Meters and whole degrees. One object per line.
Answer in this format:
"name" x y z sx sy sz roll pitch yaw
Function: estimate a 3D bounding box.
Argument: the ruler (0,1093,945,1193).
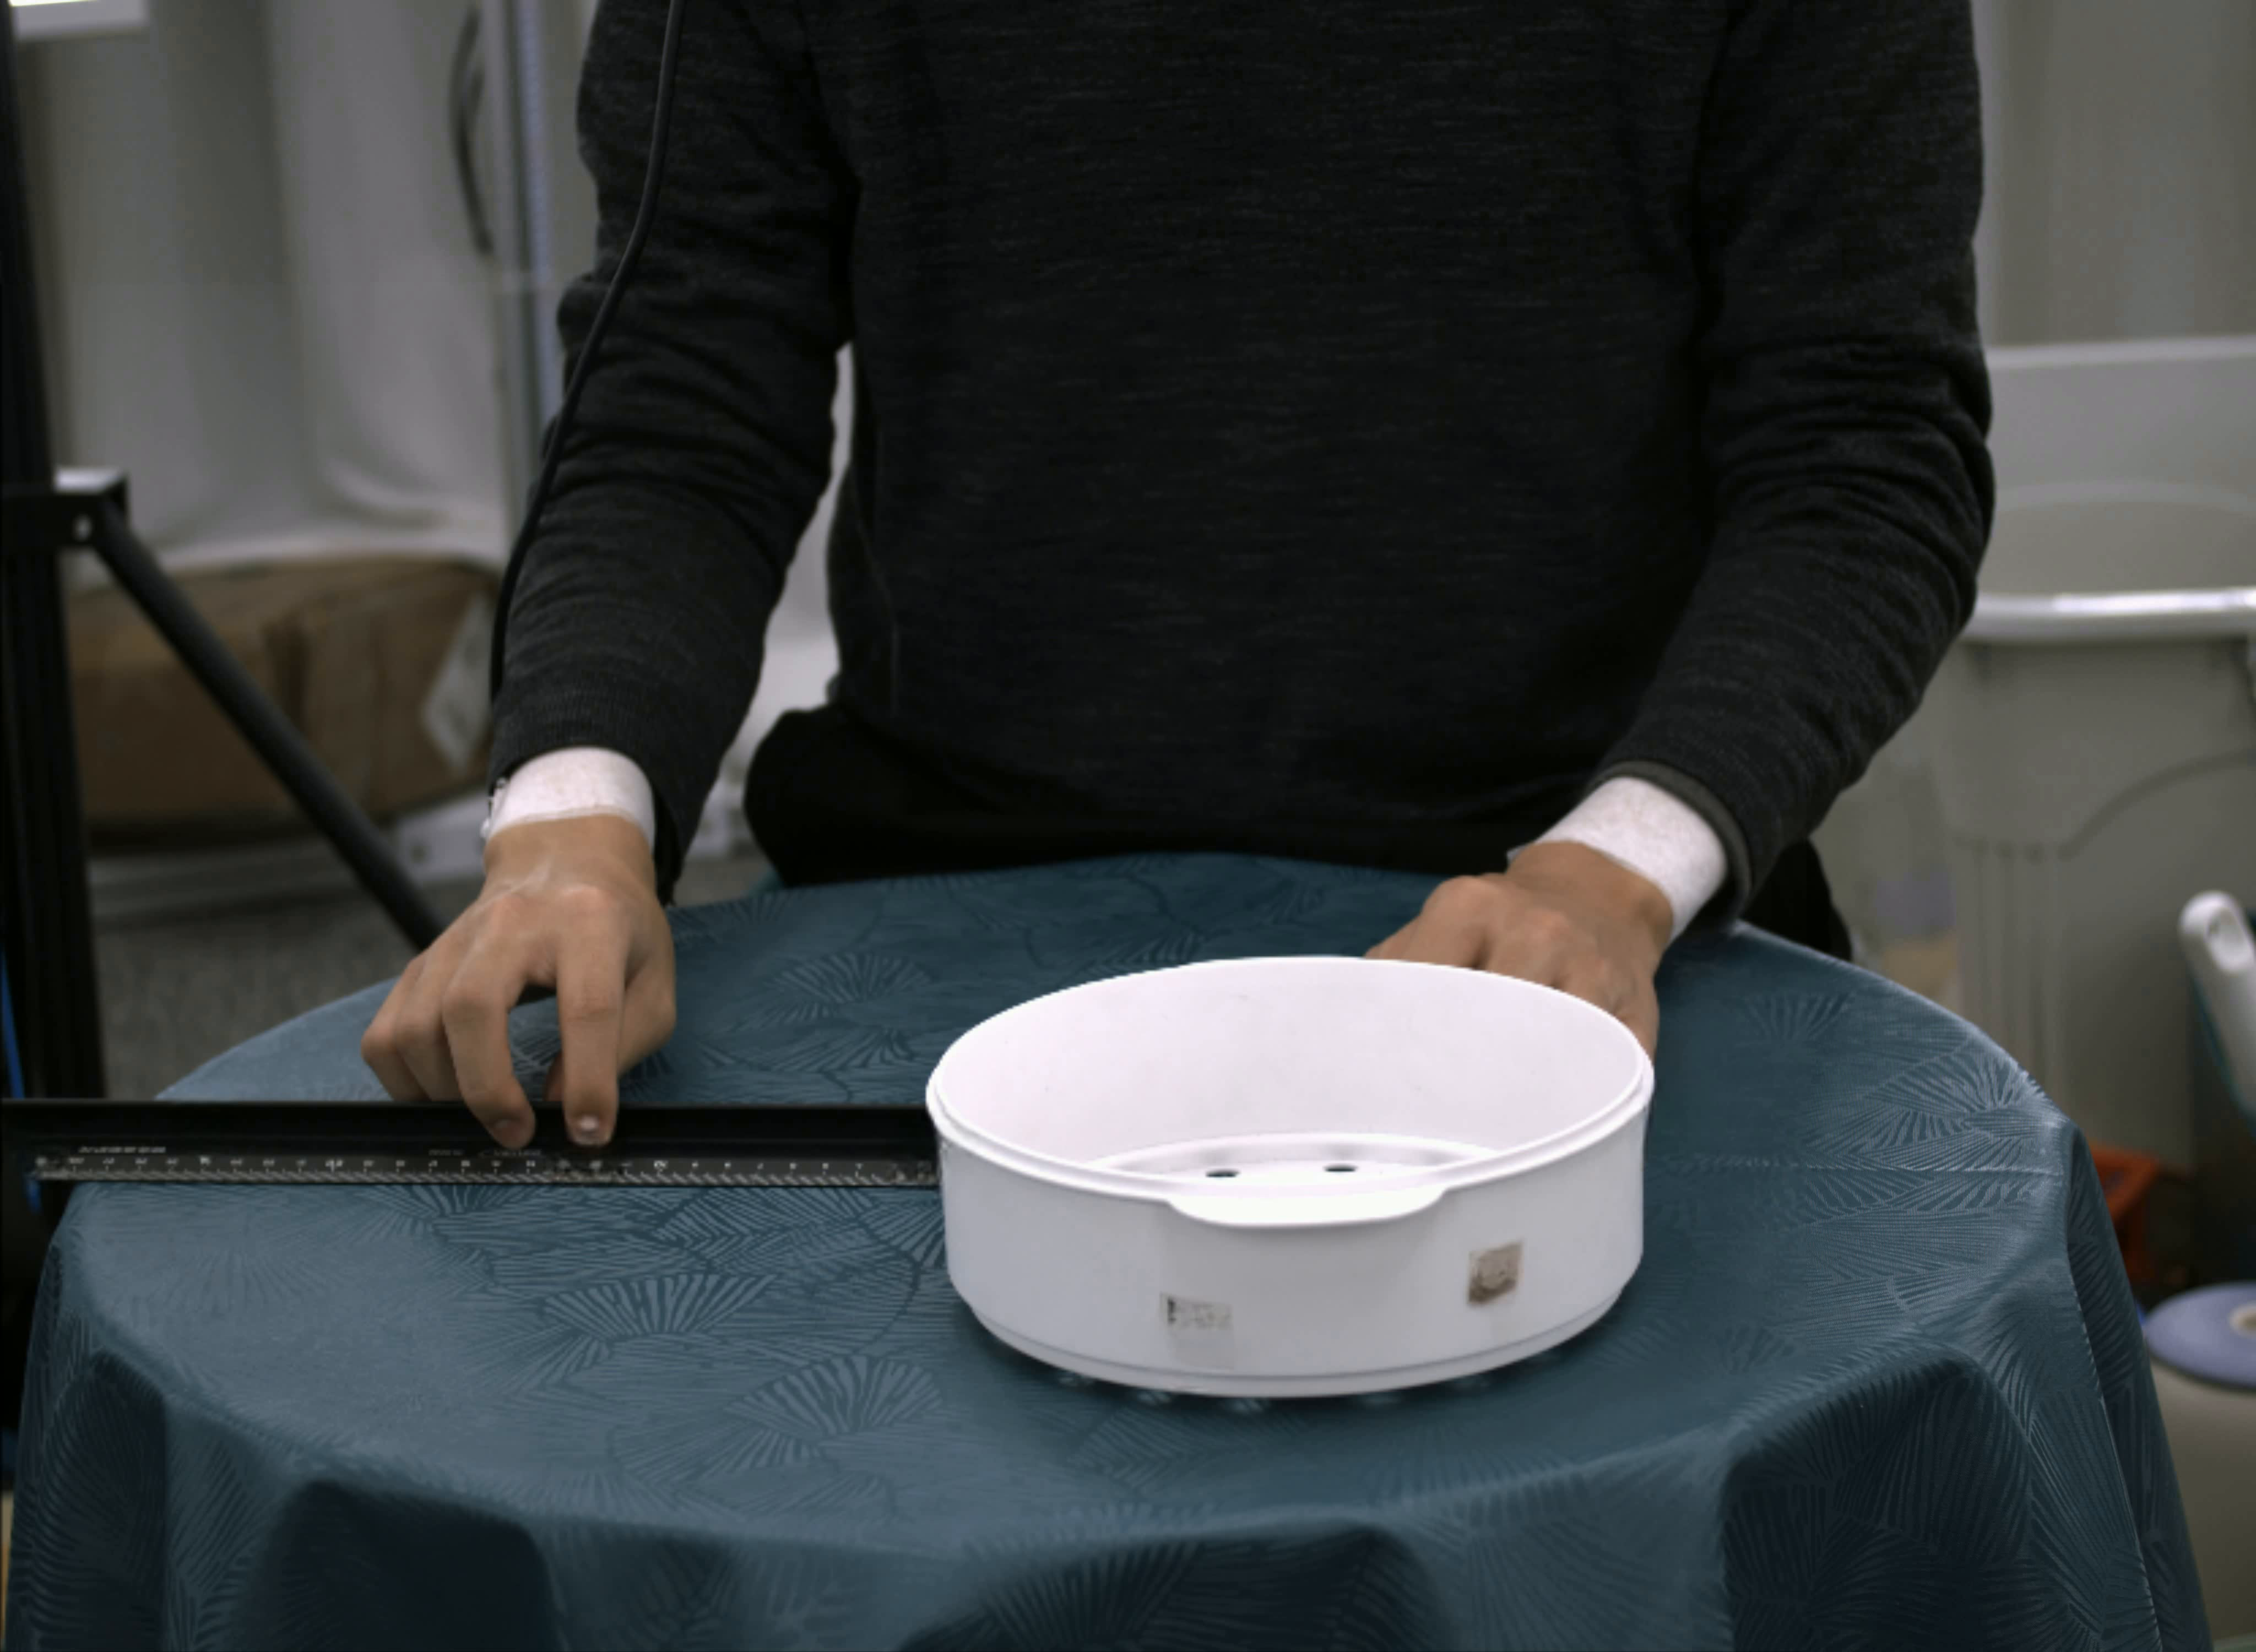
"ruler" -0.193 0.095 1.606 0.313 0.017 0.039 0 19 10

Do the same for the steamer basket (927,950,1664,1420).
"steamer basket" 0.046 0.098 1.459 0.201 0.069 0.232 -2 18 0
